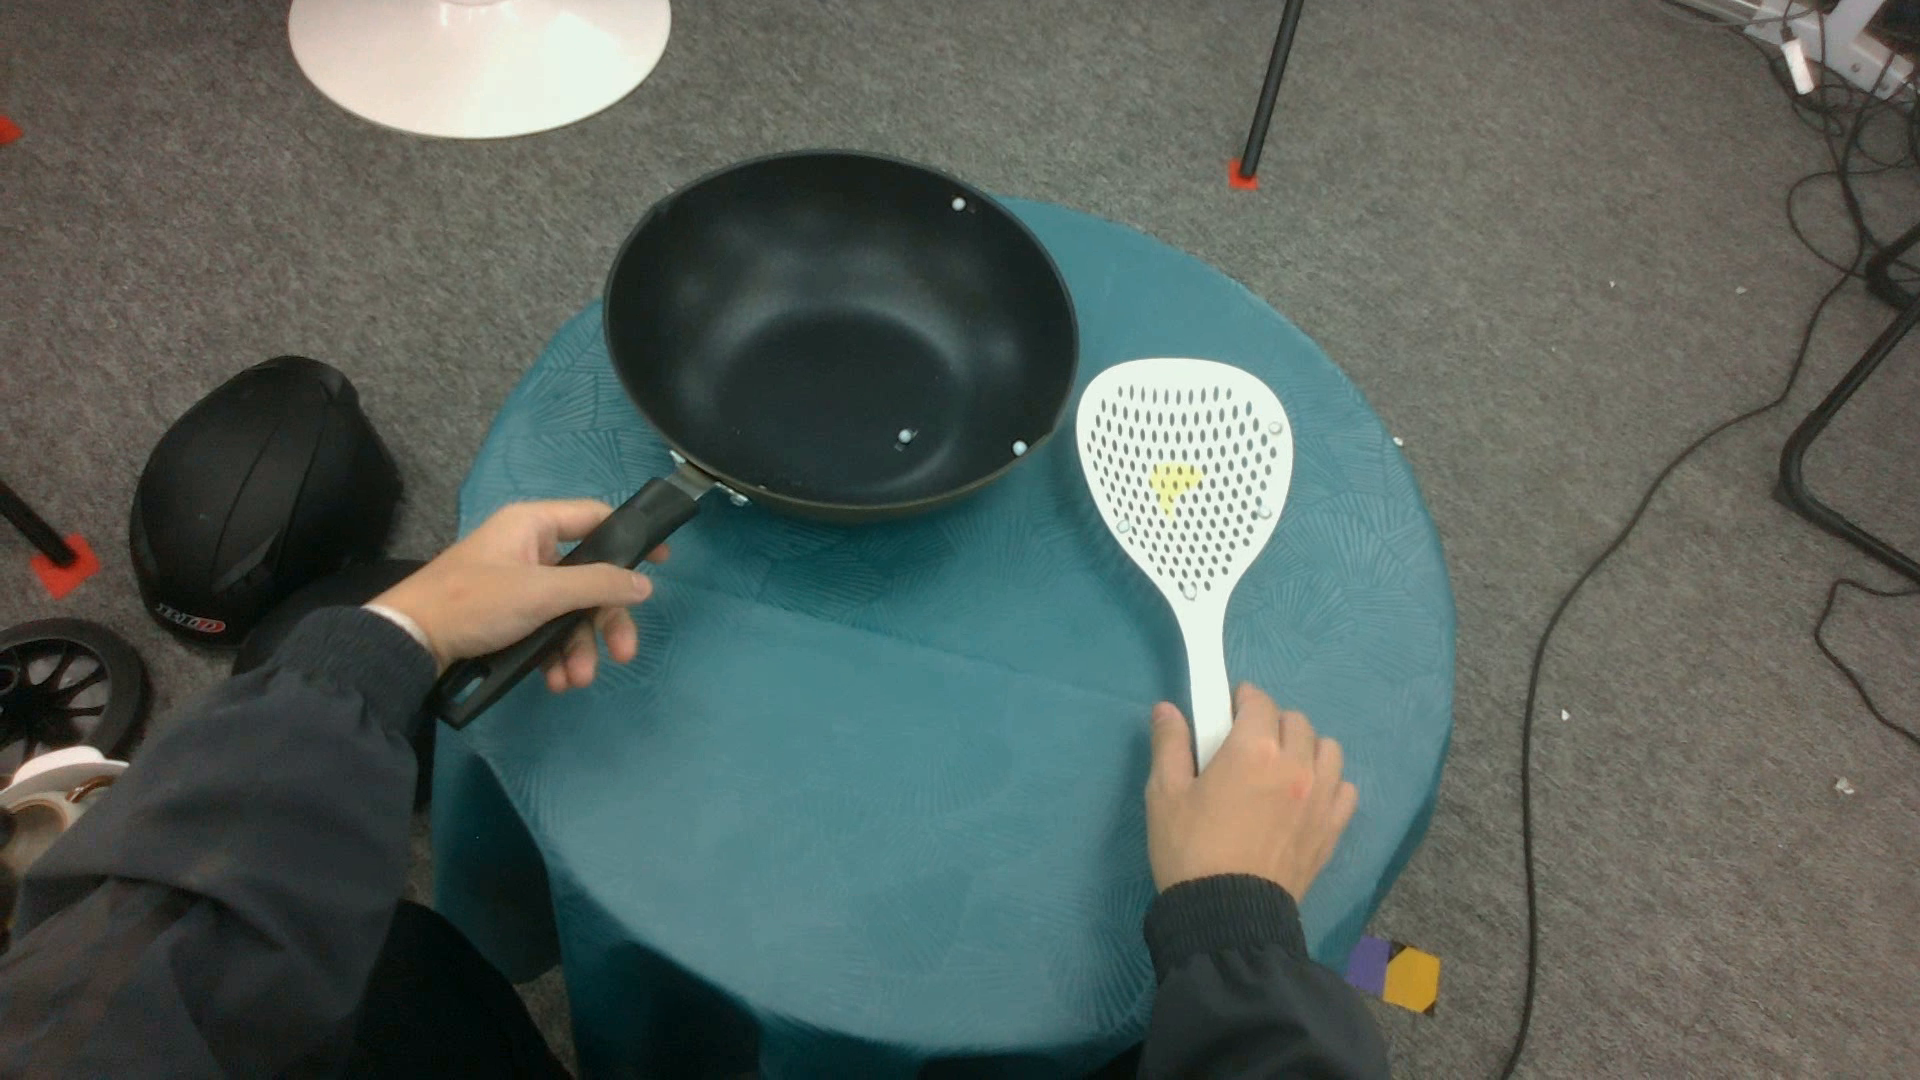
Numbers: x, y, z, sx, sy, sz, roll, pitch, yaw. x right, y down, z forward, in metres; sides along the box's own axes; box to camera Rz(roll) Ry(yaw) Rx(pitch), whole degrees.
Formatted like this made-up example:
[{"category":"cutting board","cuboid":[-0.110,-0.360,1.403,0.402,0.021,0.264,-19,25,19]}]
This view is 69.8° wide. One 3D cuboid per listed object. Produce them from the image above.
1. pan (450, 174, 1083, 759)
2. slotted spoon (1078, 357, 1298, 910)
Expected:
[{"category":"pan","cuboid":[-0.116,-0.038,0.815,0.288,0.086,0.465,29,59,14]},{"category":"slotted spoon","cuboid":[0.147,0.040,0.813,0.137,0.050,0.349,-2,57,-3]}]
